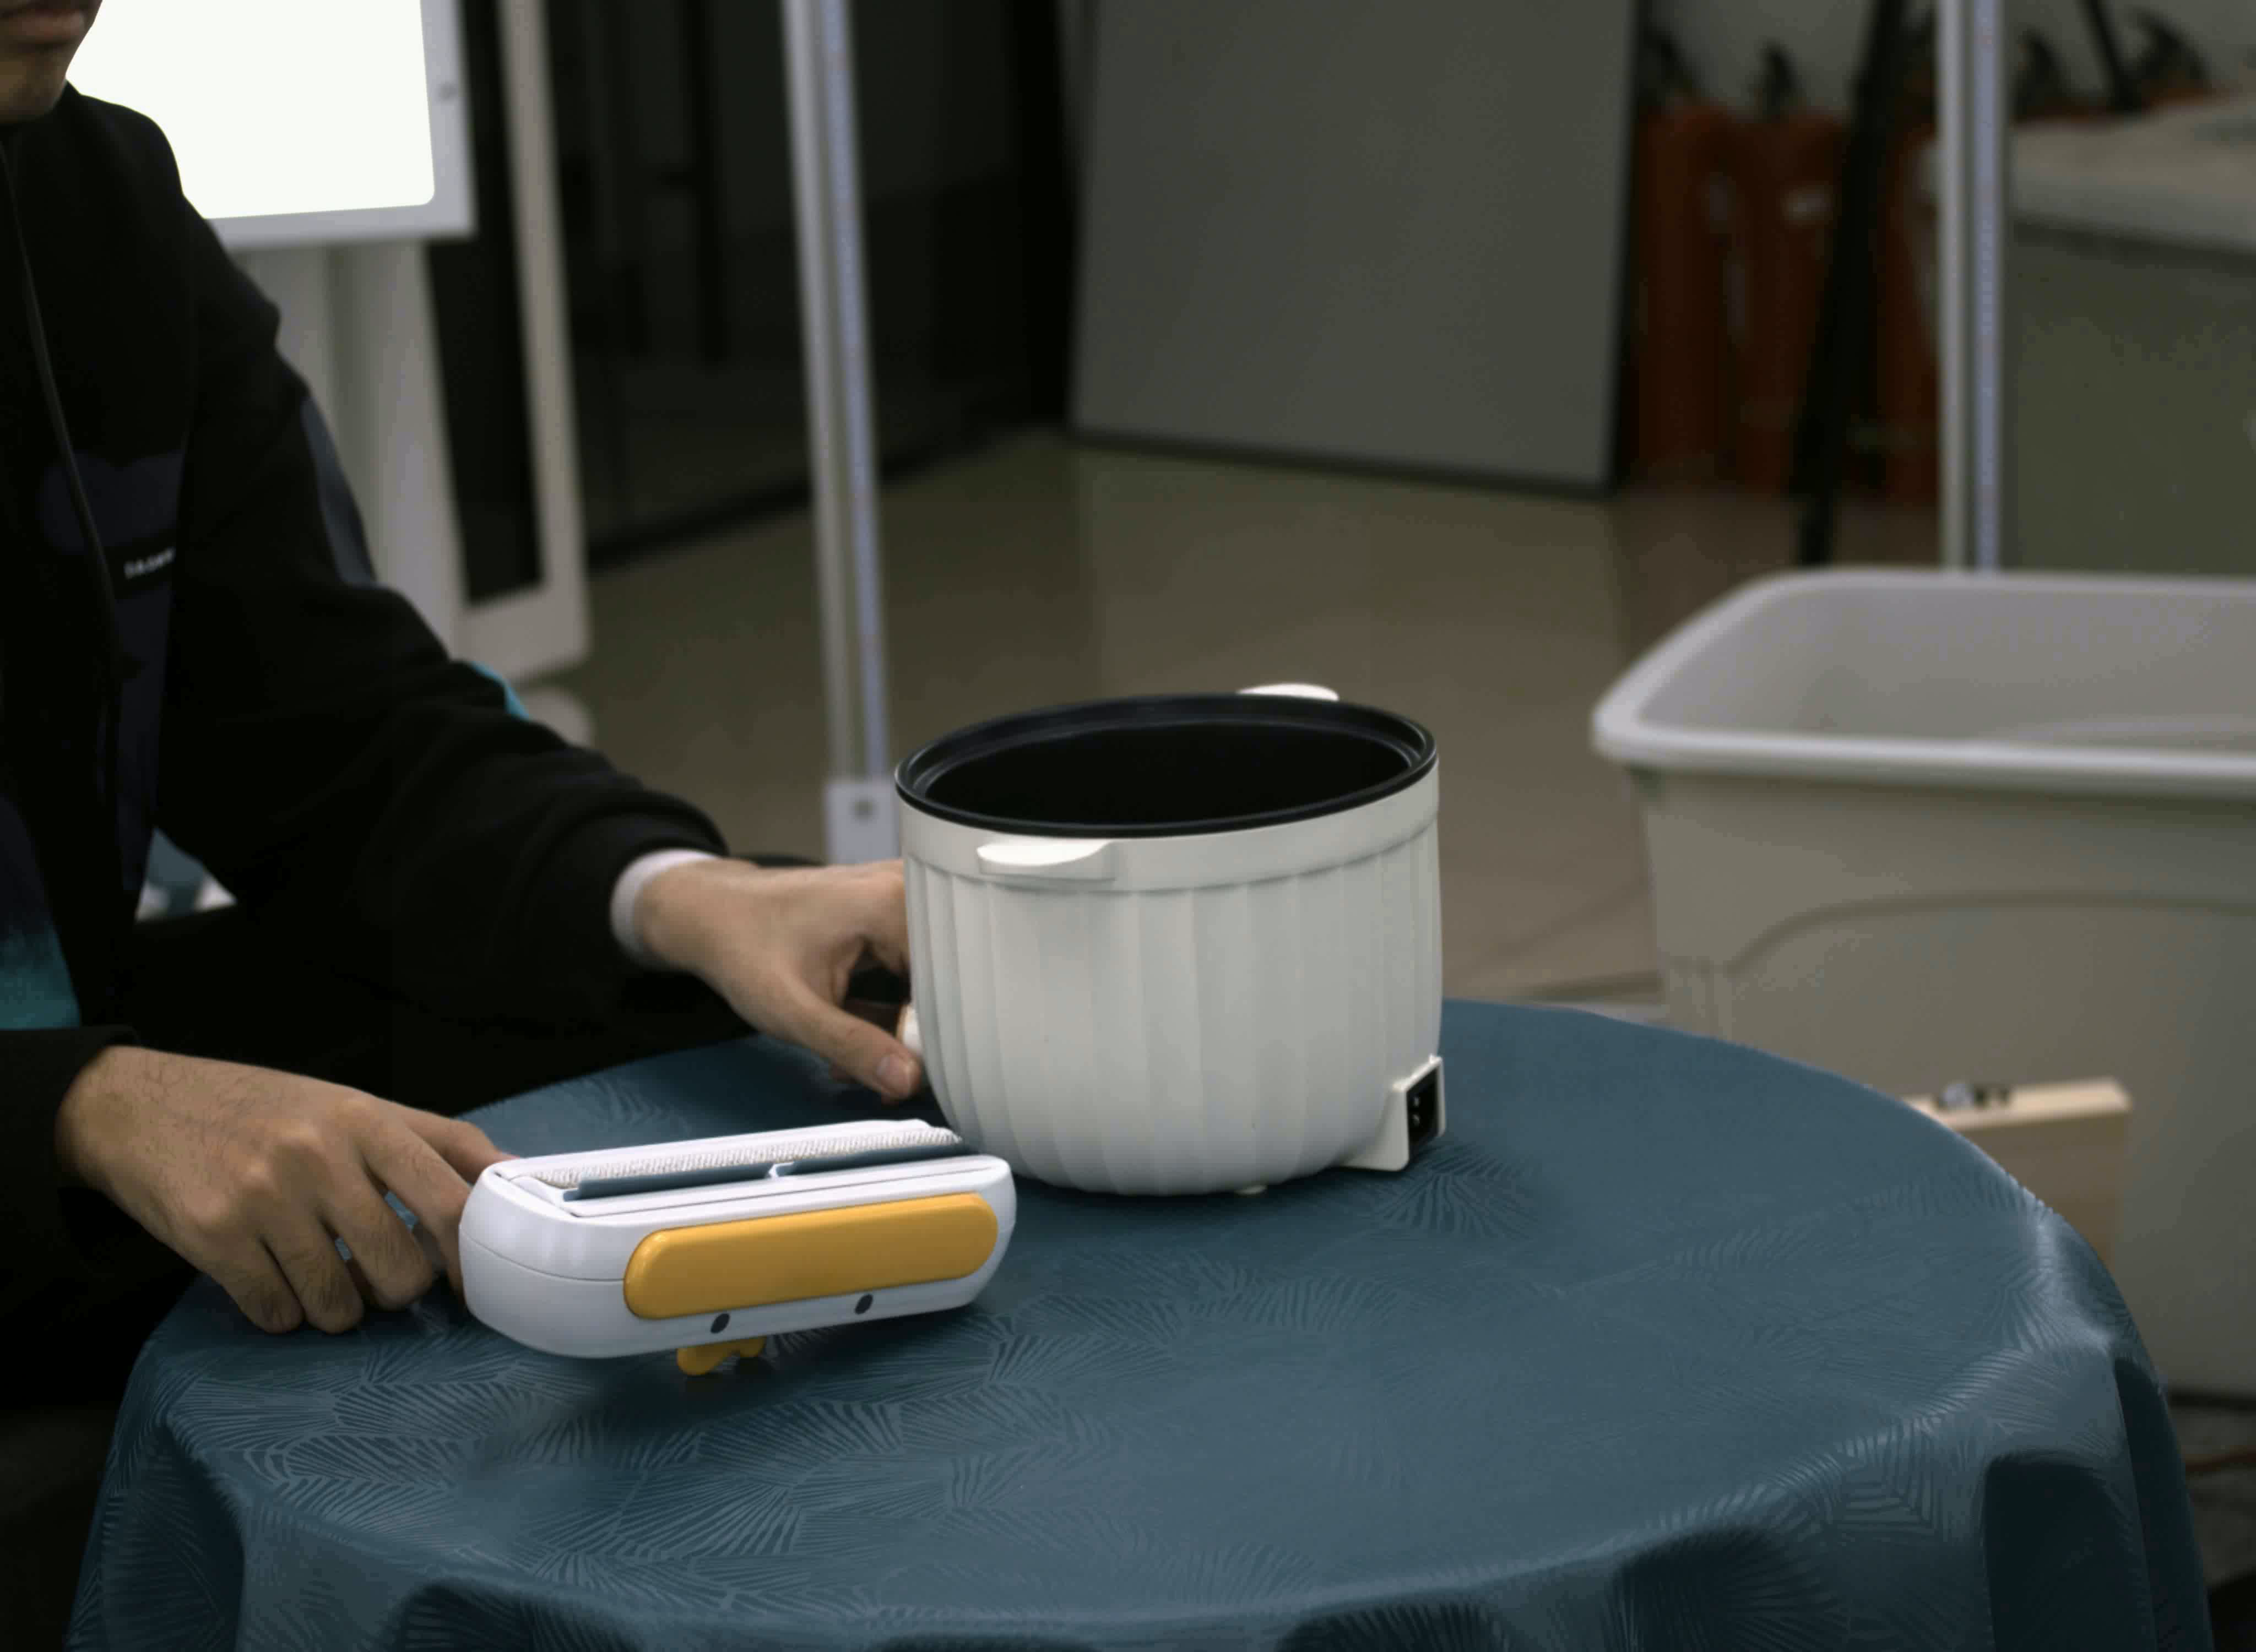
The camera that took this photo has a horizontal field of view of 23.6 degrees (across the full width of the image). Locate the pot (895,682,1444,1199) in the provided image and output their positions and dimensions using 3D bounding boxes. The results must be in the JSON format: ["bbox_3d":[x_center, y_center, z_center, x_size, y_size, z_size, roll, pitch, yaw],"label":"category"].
[{"bbox_3d":[0.011,0.041,1.800,0.190,0.144,0.237,5,15,24],"label":"pot"}]

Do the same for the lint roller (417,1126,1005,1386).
[{"bbox_3d":[-0.158,0.124,1.665,0.188,0.075,0.194,-8,12,-39],"label":"lint roller"}]
